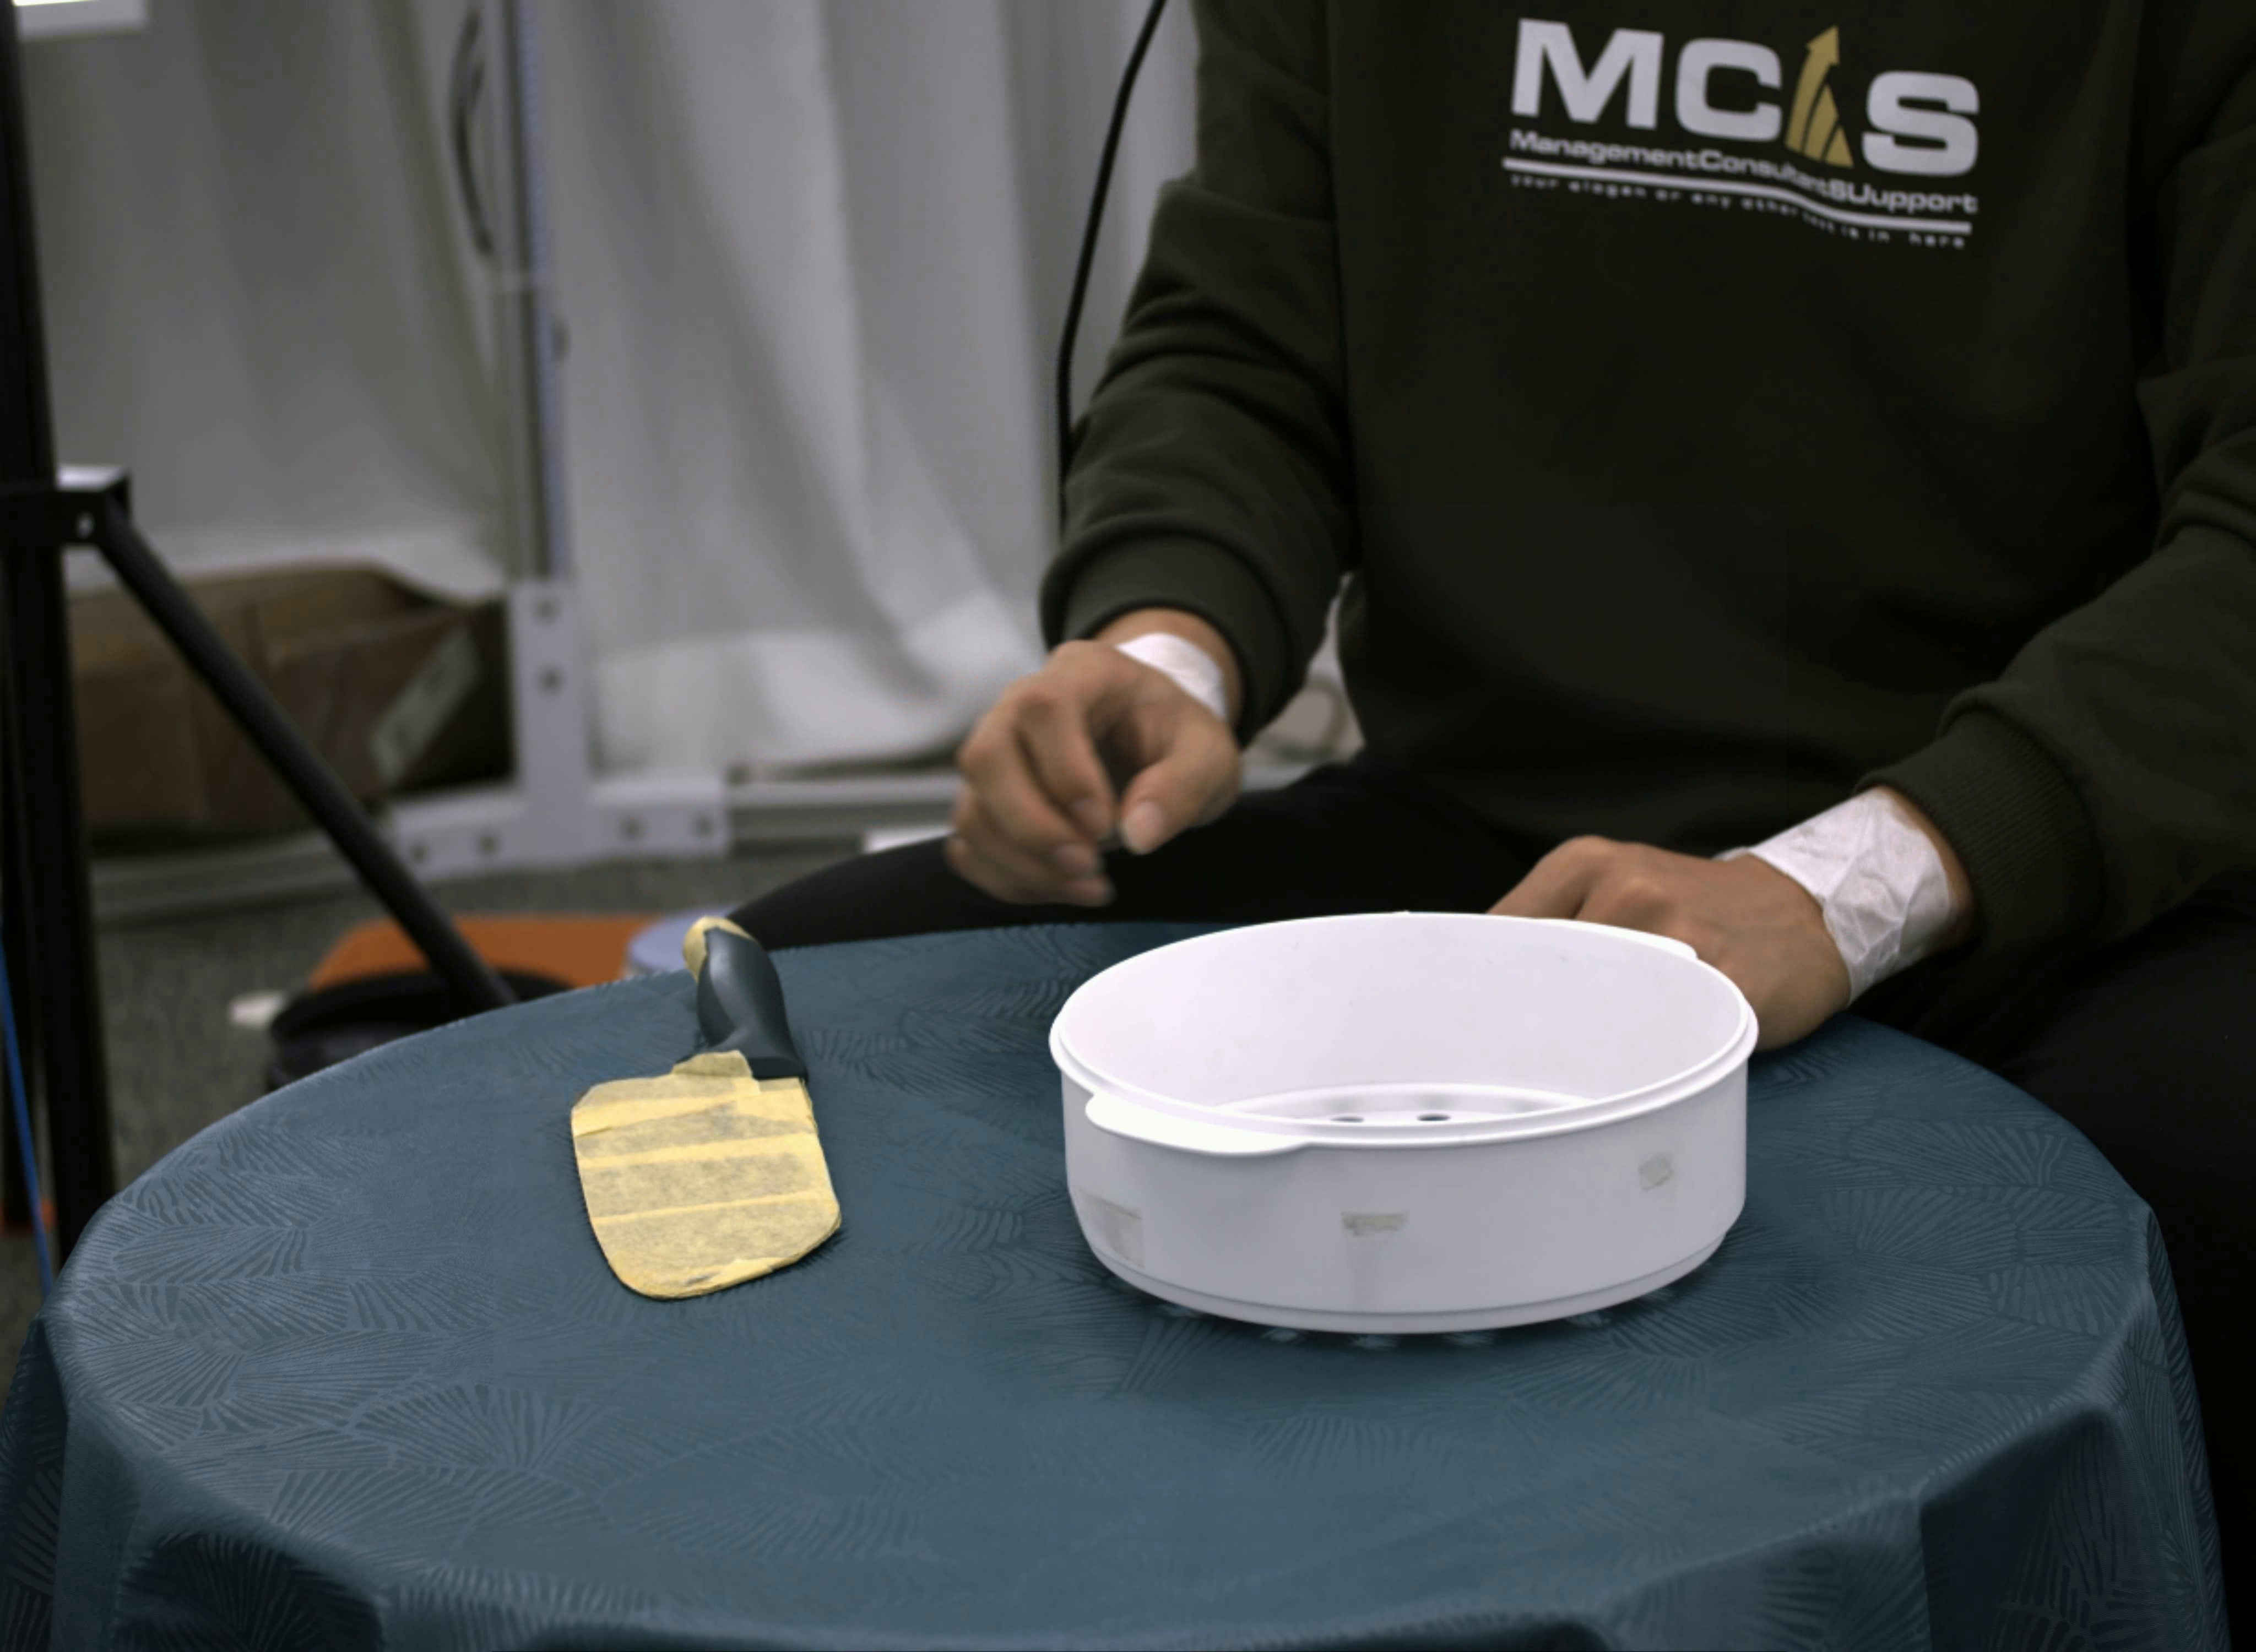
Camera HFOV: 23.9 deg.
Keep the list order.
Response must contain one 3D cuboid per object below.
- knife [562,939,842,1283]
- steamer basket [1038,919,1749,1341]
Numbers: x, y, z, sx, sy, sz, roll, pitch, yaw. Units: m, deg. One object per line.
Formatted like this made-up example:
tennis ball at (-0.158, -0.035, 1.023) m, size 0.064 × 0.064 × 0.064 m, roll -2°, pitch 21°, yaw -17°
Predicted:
knife at (-0.132, 0.087, 1.630) m, size 0.080 × 0.027 × 0.292 m, roll -3°, pitch 17°, yaw -6°
steamer basket at (0.075, 0.086, 1.505) m, size 0.206 × 0.069 × 0.225 m, roll 12°, pitch 20°, yaw 39°
